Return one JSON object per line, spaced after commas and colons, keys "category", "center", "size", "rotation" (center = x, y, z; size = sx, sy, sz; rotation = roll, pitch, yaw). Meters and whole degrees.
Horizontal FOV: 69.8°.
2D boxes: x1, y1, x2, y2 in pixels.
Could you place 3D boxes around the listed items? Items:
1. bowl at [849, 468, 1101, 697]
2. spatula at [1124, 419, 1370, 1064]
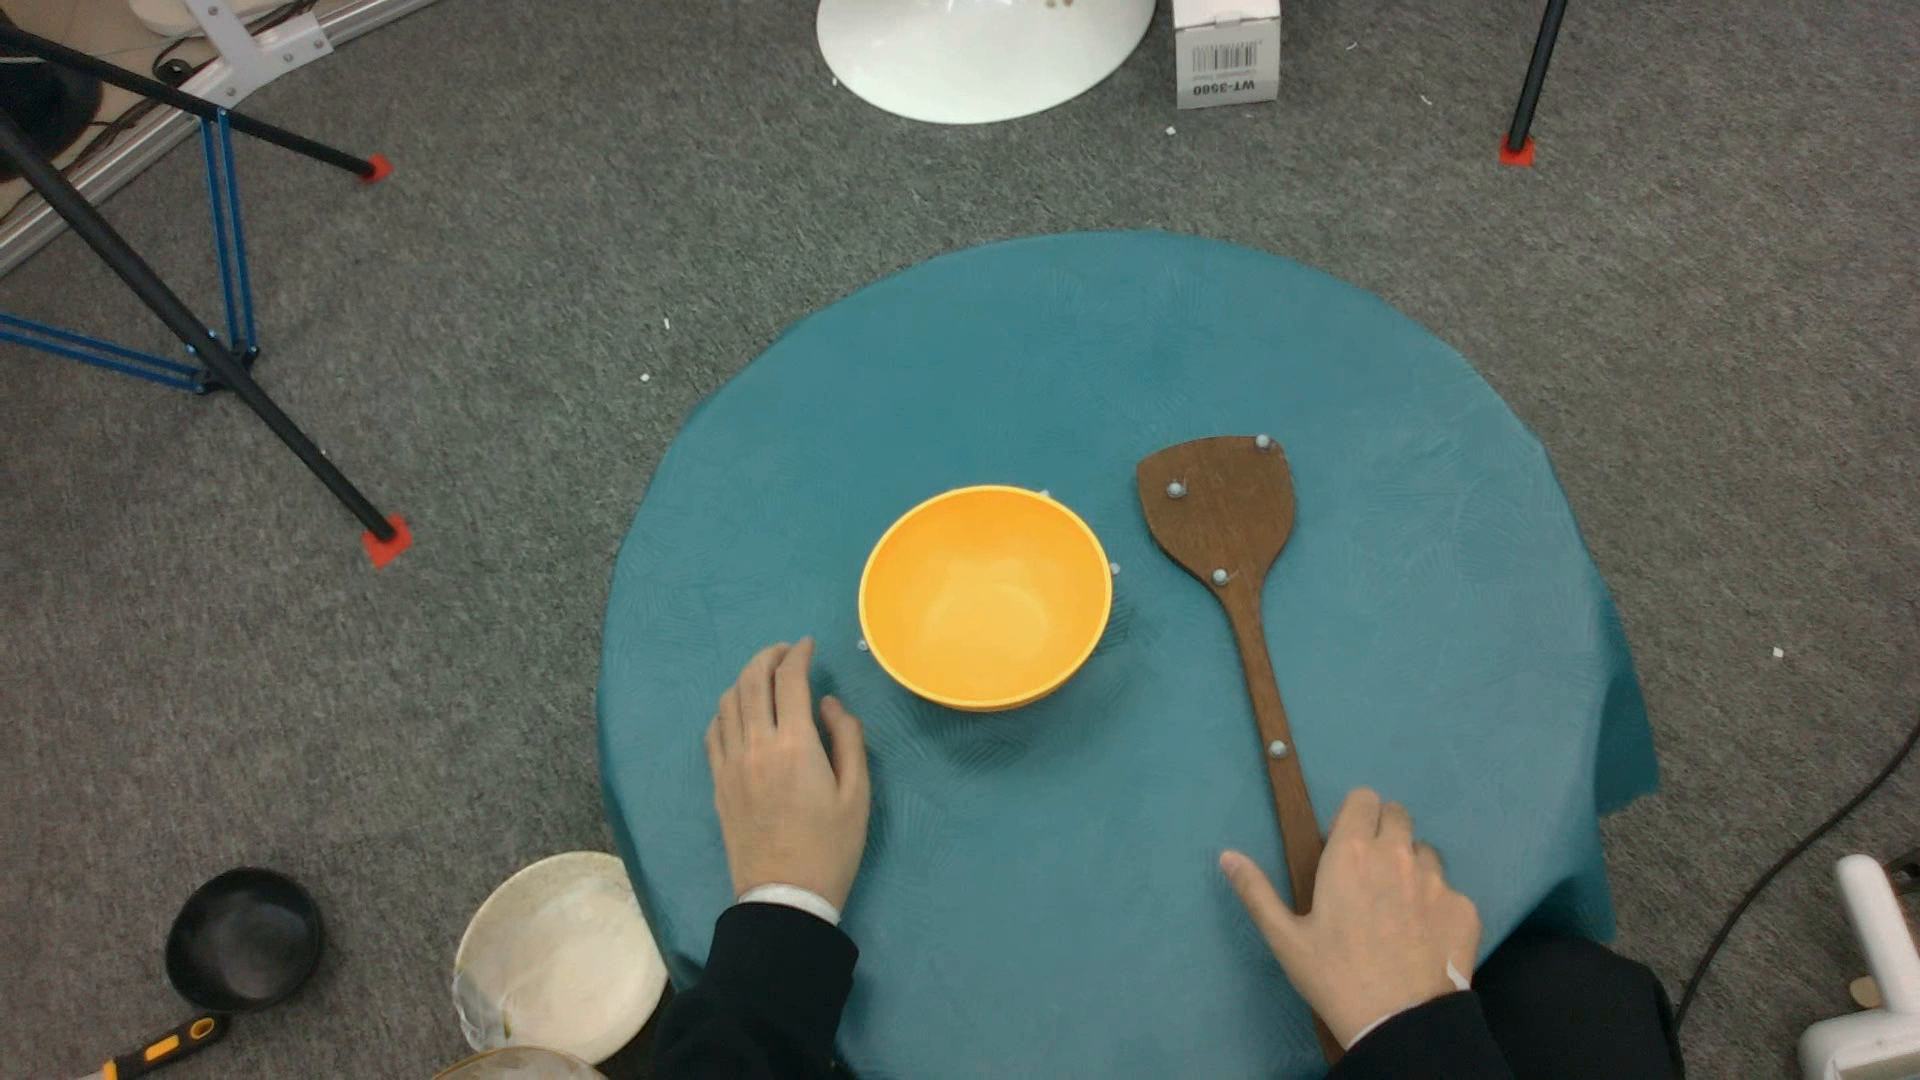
{"category": "bowl", "center": [0.012, 0.033, 0.804], "size": [0.145, 0.060, 0.146], "rotation": [-4, 60, 7]}
{"category": "spatula", "center": [0.169, 0.091, 0.773], "size": [0.096, 0.016, 0.387], "rotation": [-9, 59, 2]}
